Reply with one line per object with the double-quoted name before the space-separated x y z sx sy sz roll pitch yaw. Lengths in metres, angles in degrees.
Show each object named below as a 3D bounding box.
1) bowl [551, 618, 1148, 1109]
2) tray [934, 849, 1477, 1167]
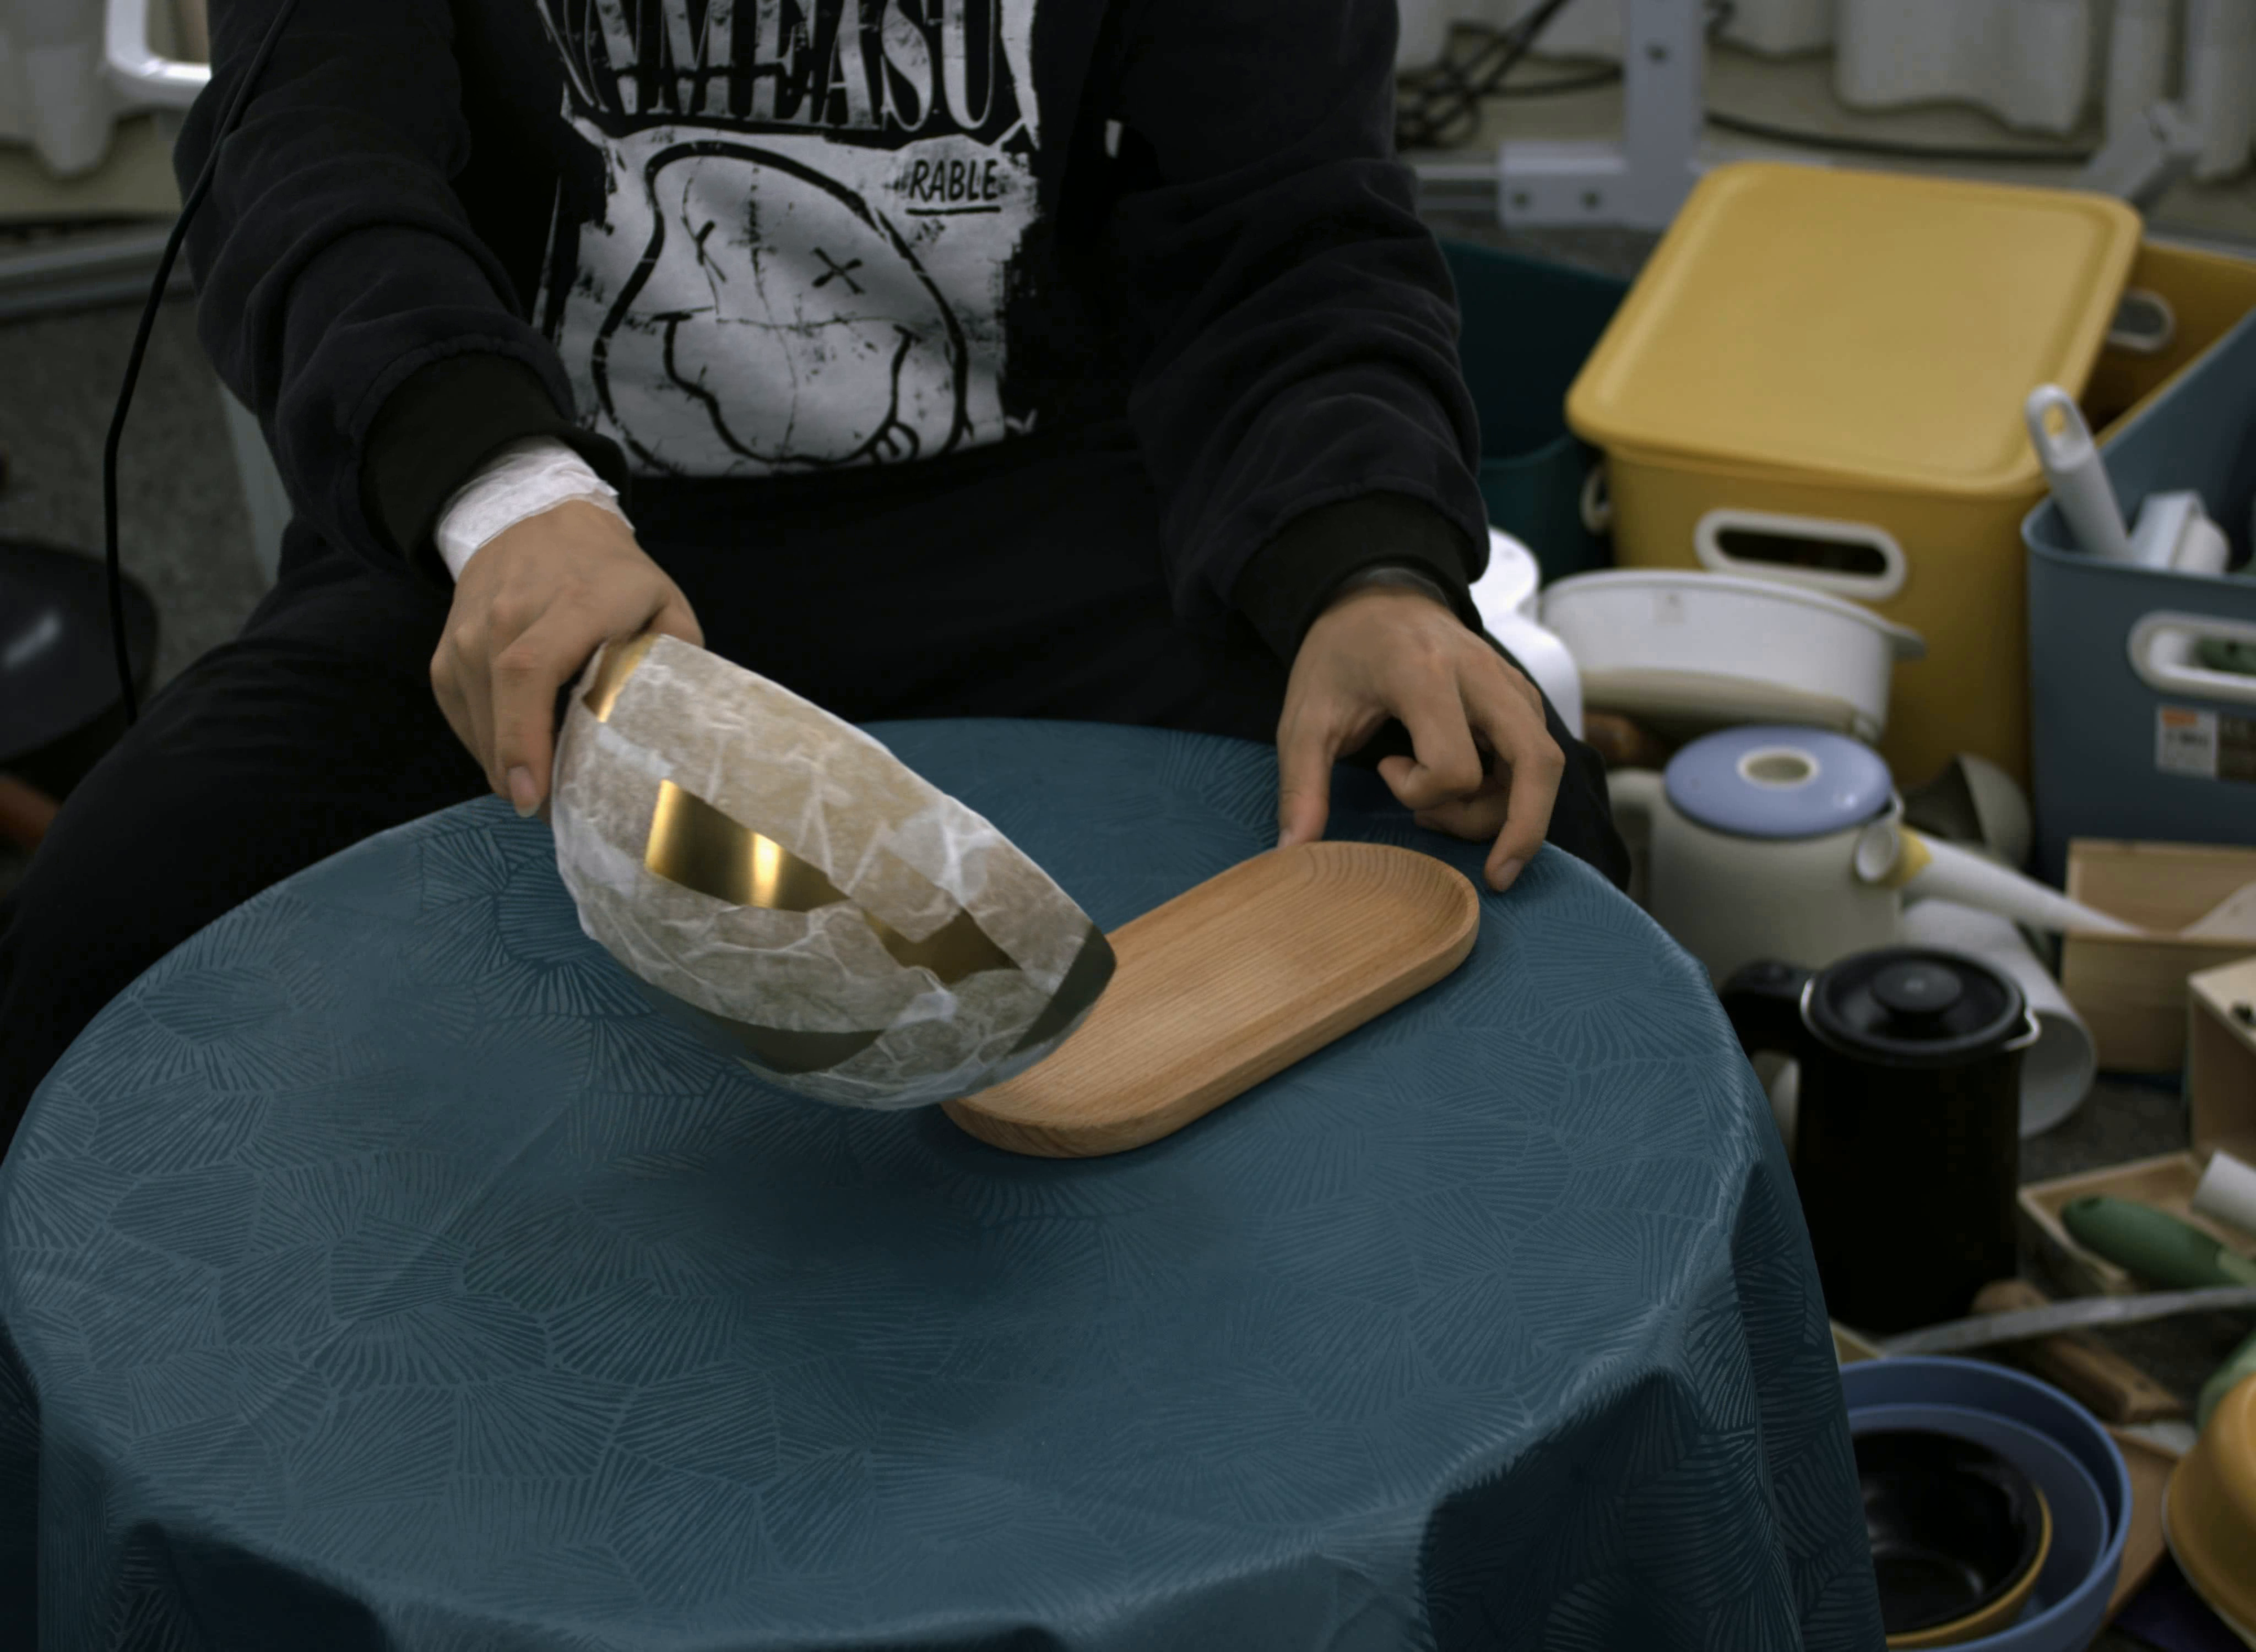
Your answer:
"bowl" -0.108 0.031 1.814 0.214 0.213 0.095 22 74 39
"tray" 0.028 0.062 1.957 0.101 0.020 0.234 19 36 40
